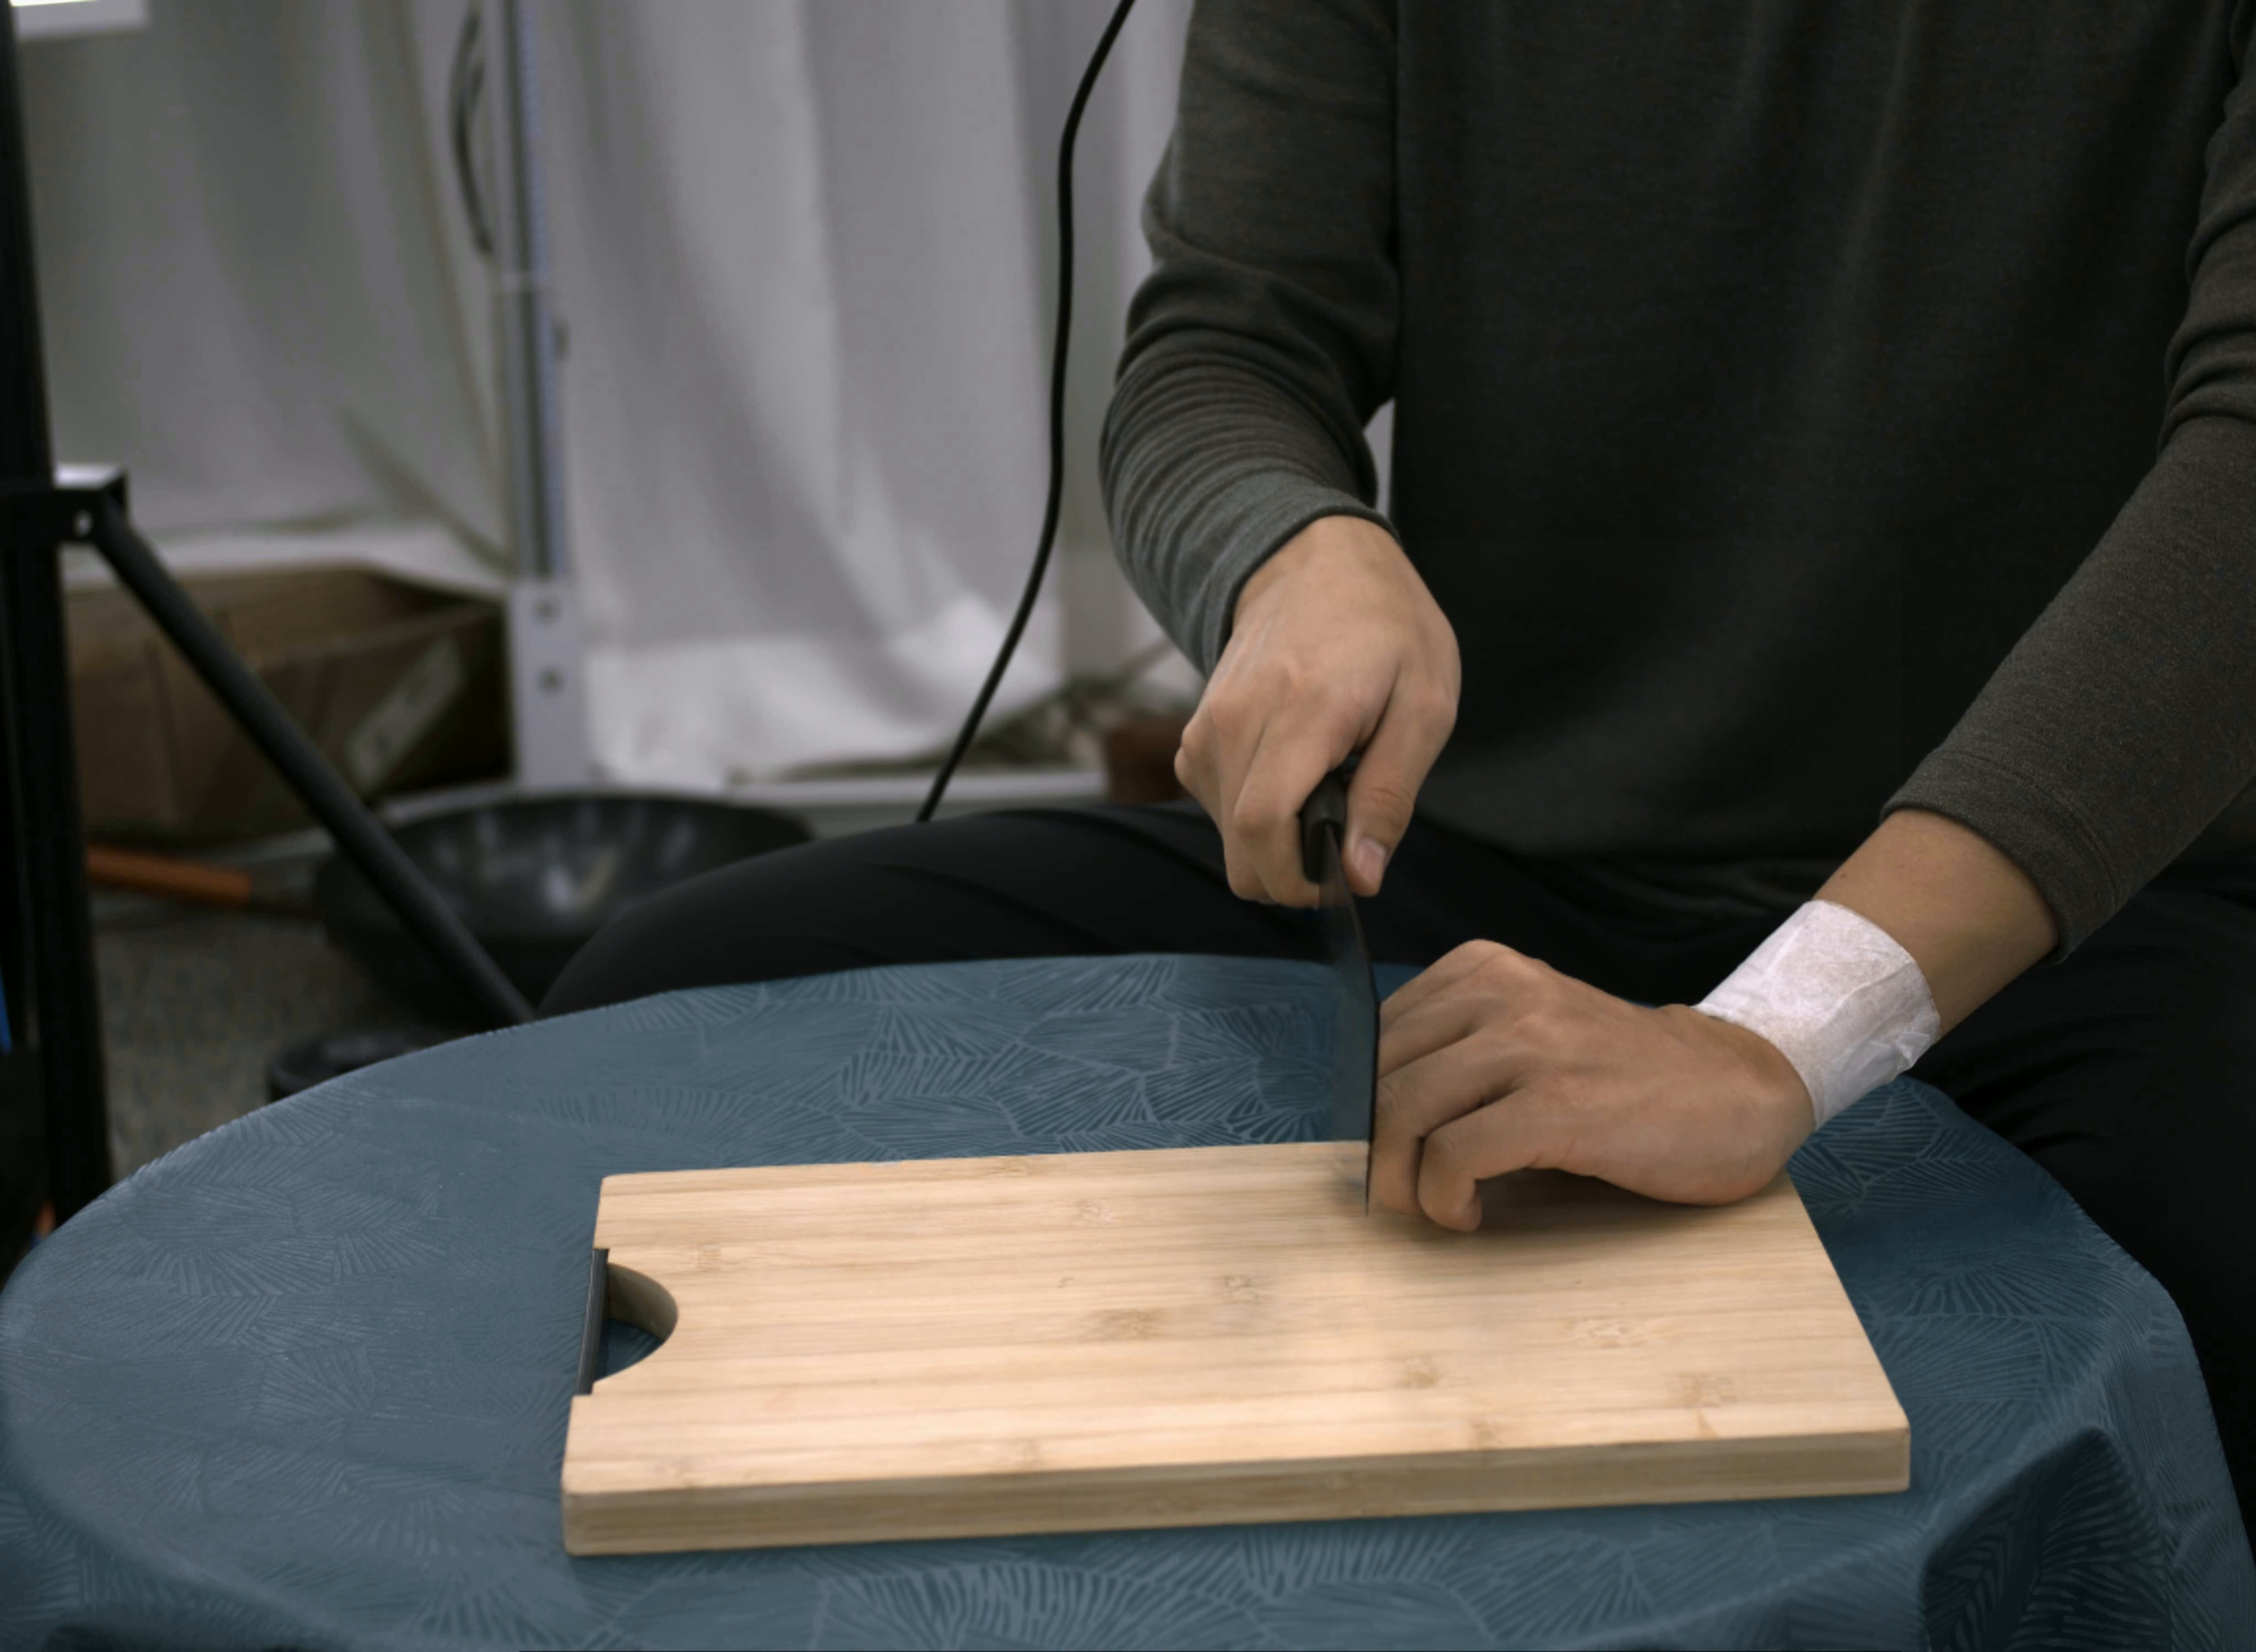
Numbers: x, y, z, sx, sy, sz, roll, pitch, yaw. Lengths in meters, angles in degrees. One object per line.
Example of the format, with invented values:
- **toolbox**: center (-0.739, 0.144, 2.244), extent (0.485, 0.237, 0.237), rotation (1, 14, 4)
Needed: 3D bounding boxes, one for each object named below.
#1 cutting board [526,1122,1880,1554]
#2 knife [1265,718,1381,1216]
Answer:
- **cutting board**: center (0.017, 0.135, 1.433), extent (0.346, 0.023, 0.252), rotation (-3, 15, -1)
- **knife**: center (0.057, 0.031, 1.505), extent (0.021, 0.081, 0.304), rotation (2, 20, -3)
